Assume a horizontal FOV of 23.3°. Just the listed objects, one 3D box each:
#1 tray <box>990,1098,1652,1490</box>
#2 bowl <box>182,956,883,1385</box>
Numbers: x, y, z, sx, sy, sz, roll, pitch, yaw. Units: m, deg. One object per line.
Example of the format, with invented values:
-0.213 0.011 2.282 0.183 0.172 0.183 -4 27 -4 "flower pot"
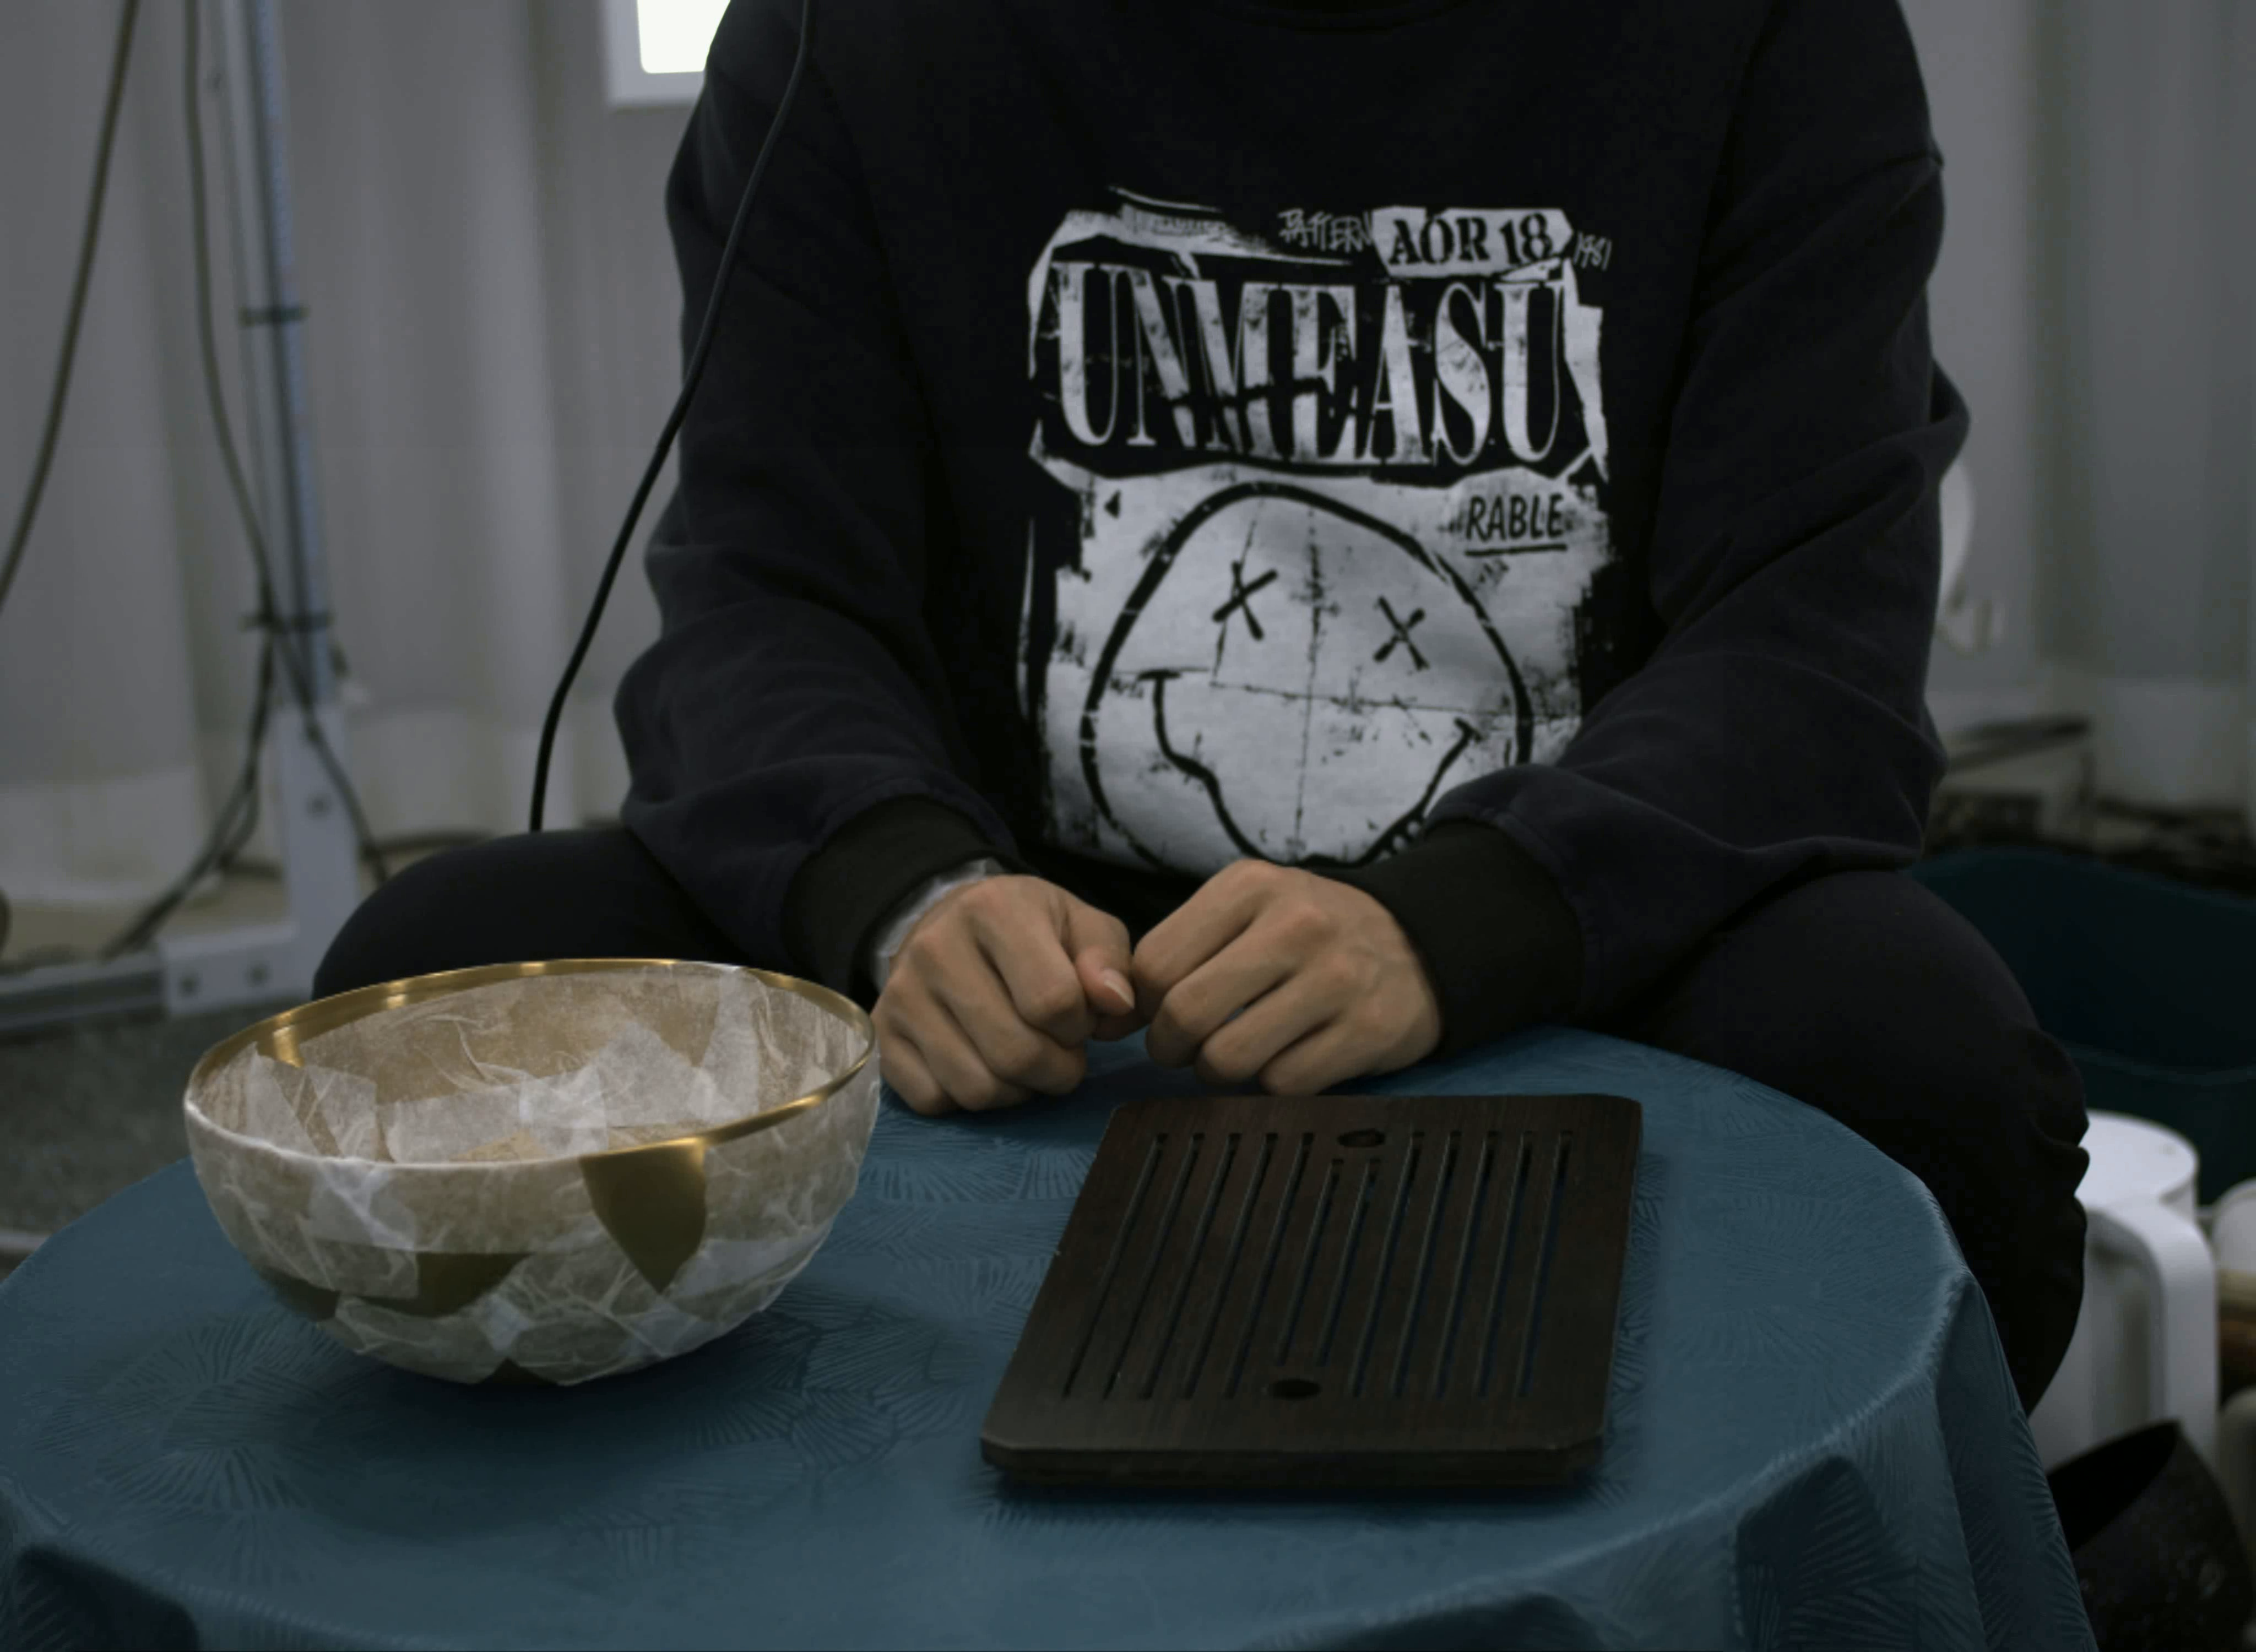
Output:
0.064 0.134 1.597 0.170 0.018 0.307 -1 15 8 "tray"
-0.166 0.108 1.594 0.214 0.094 0.216 -4 14 1 "bowl"
